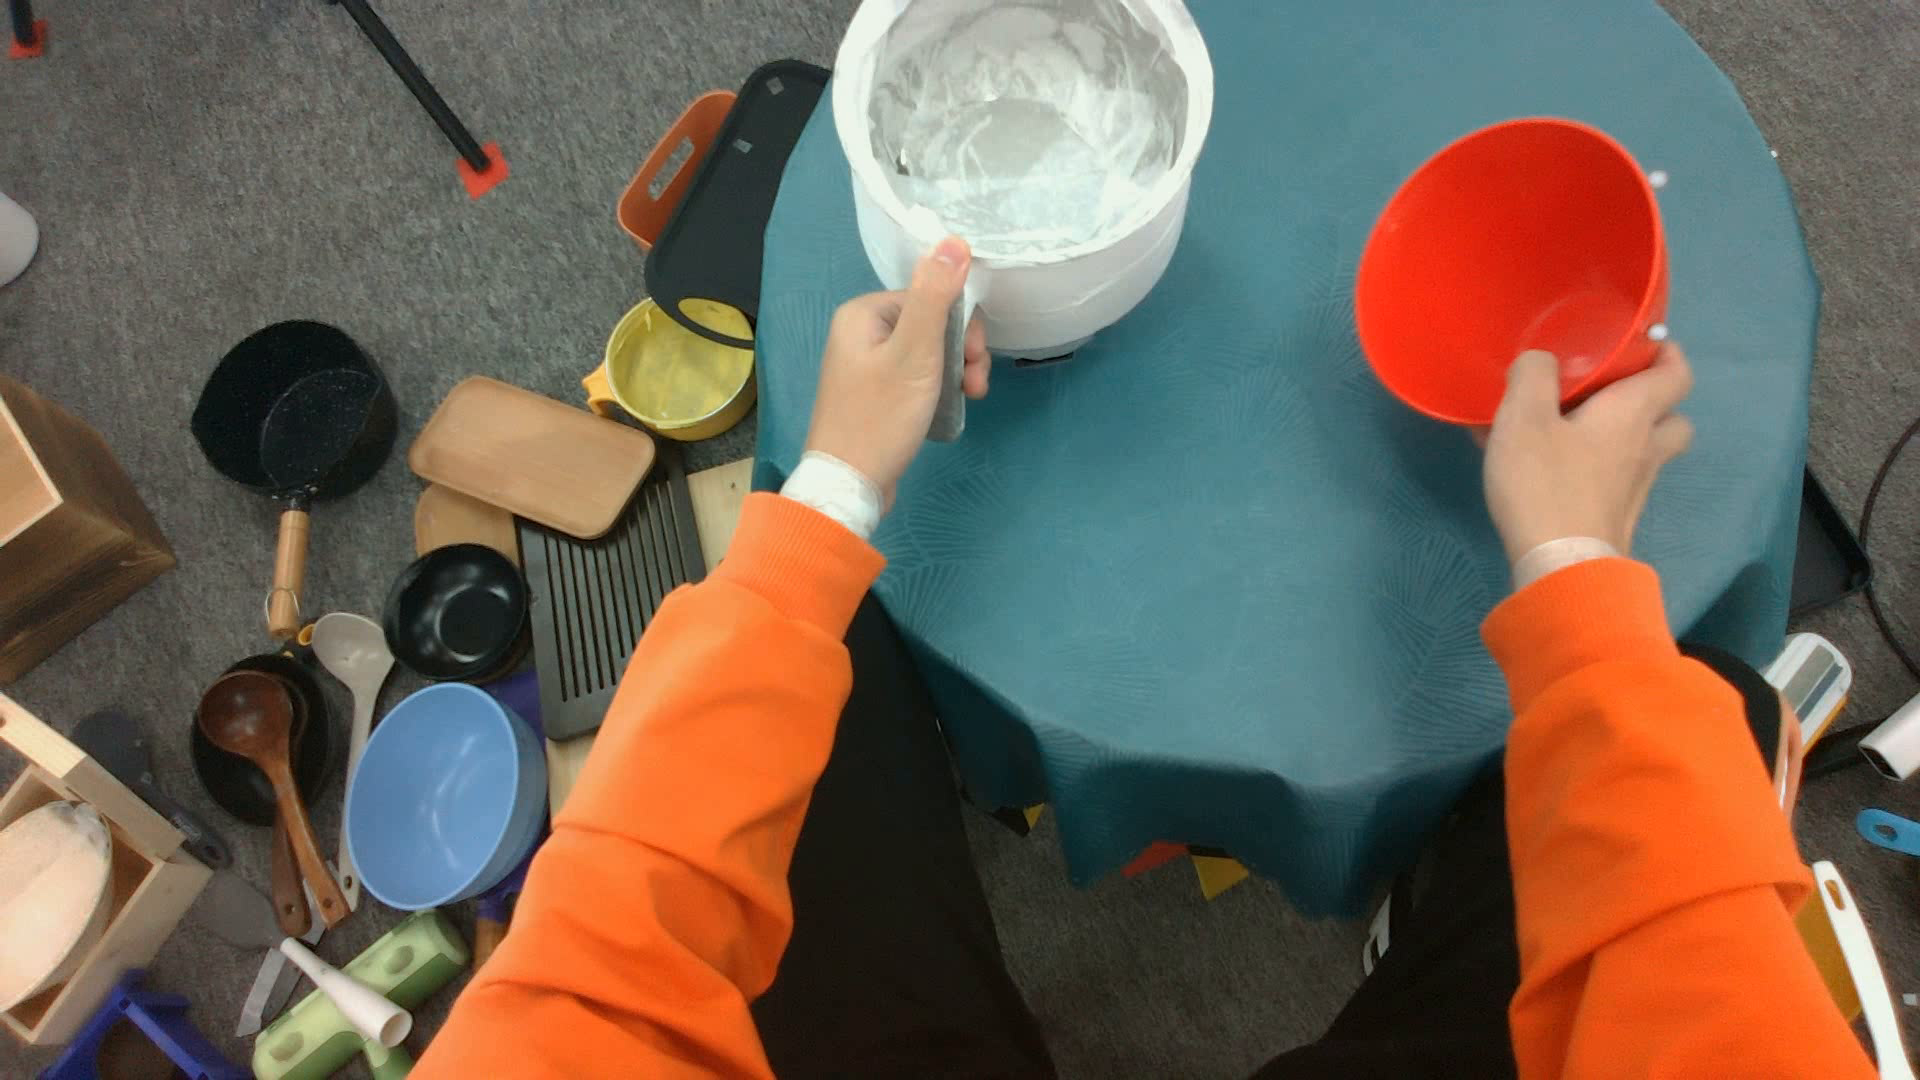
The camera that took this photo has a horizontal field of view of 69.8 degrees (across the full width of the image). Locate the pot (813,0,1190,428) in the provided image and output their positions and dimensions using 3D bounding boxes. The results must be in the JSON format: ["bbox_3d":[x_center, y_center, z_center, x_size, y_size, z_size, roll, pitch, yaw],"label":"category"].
[{"bbox_3d":[0.012,-0.176,0.700,0.178,0.136,0.234,18,76,6],"label":"pot"}]

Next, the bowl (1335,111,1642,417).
[{"bbox_3d":[0.279,-0.126,0.697,0.147,0.105,0.148,-19,62,42],"label":"bowl"}]
